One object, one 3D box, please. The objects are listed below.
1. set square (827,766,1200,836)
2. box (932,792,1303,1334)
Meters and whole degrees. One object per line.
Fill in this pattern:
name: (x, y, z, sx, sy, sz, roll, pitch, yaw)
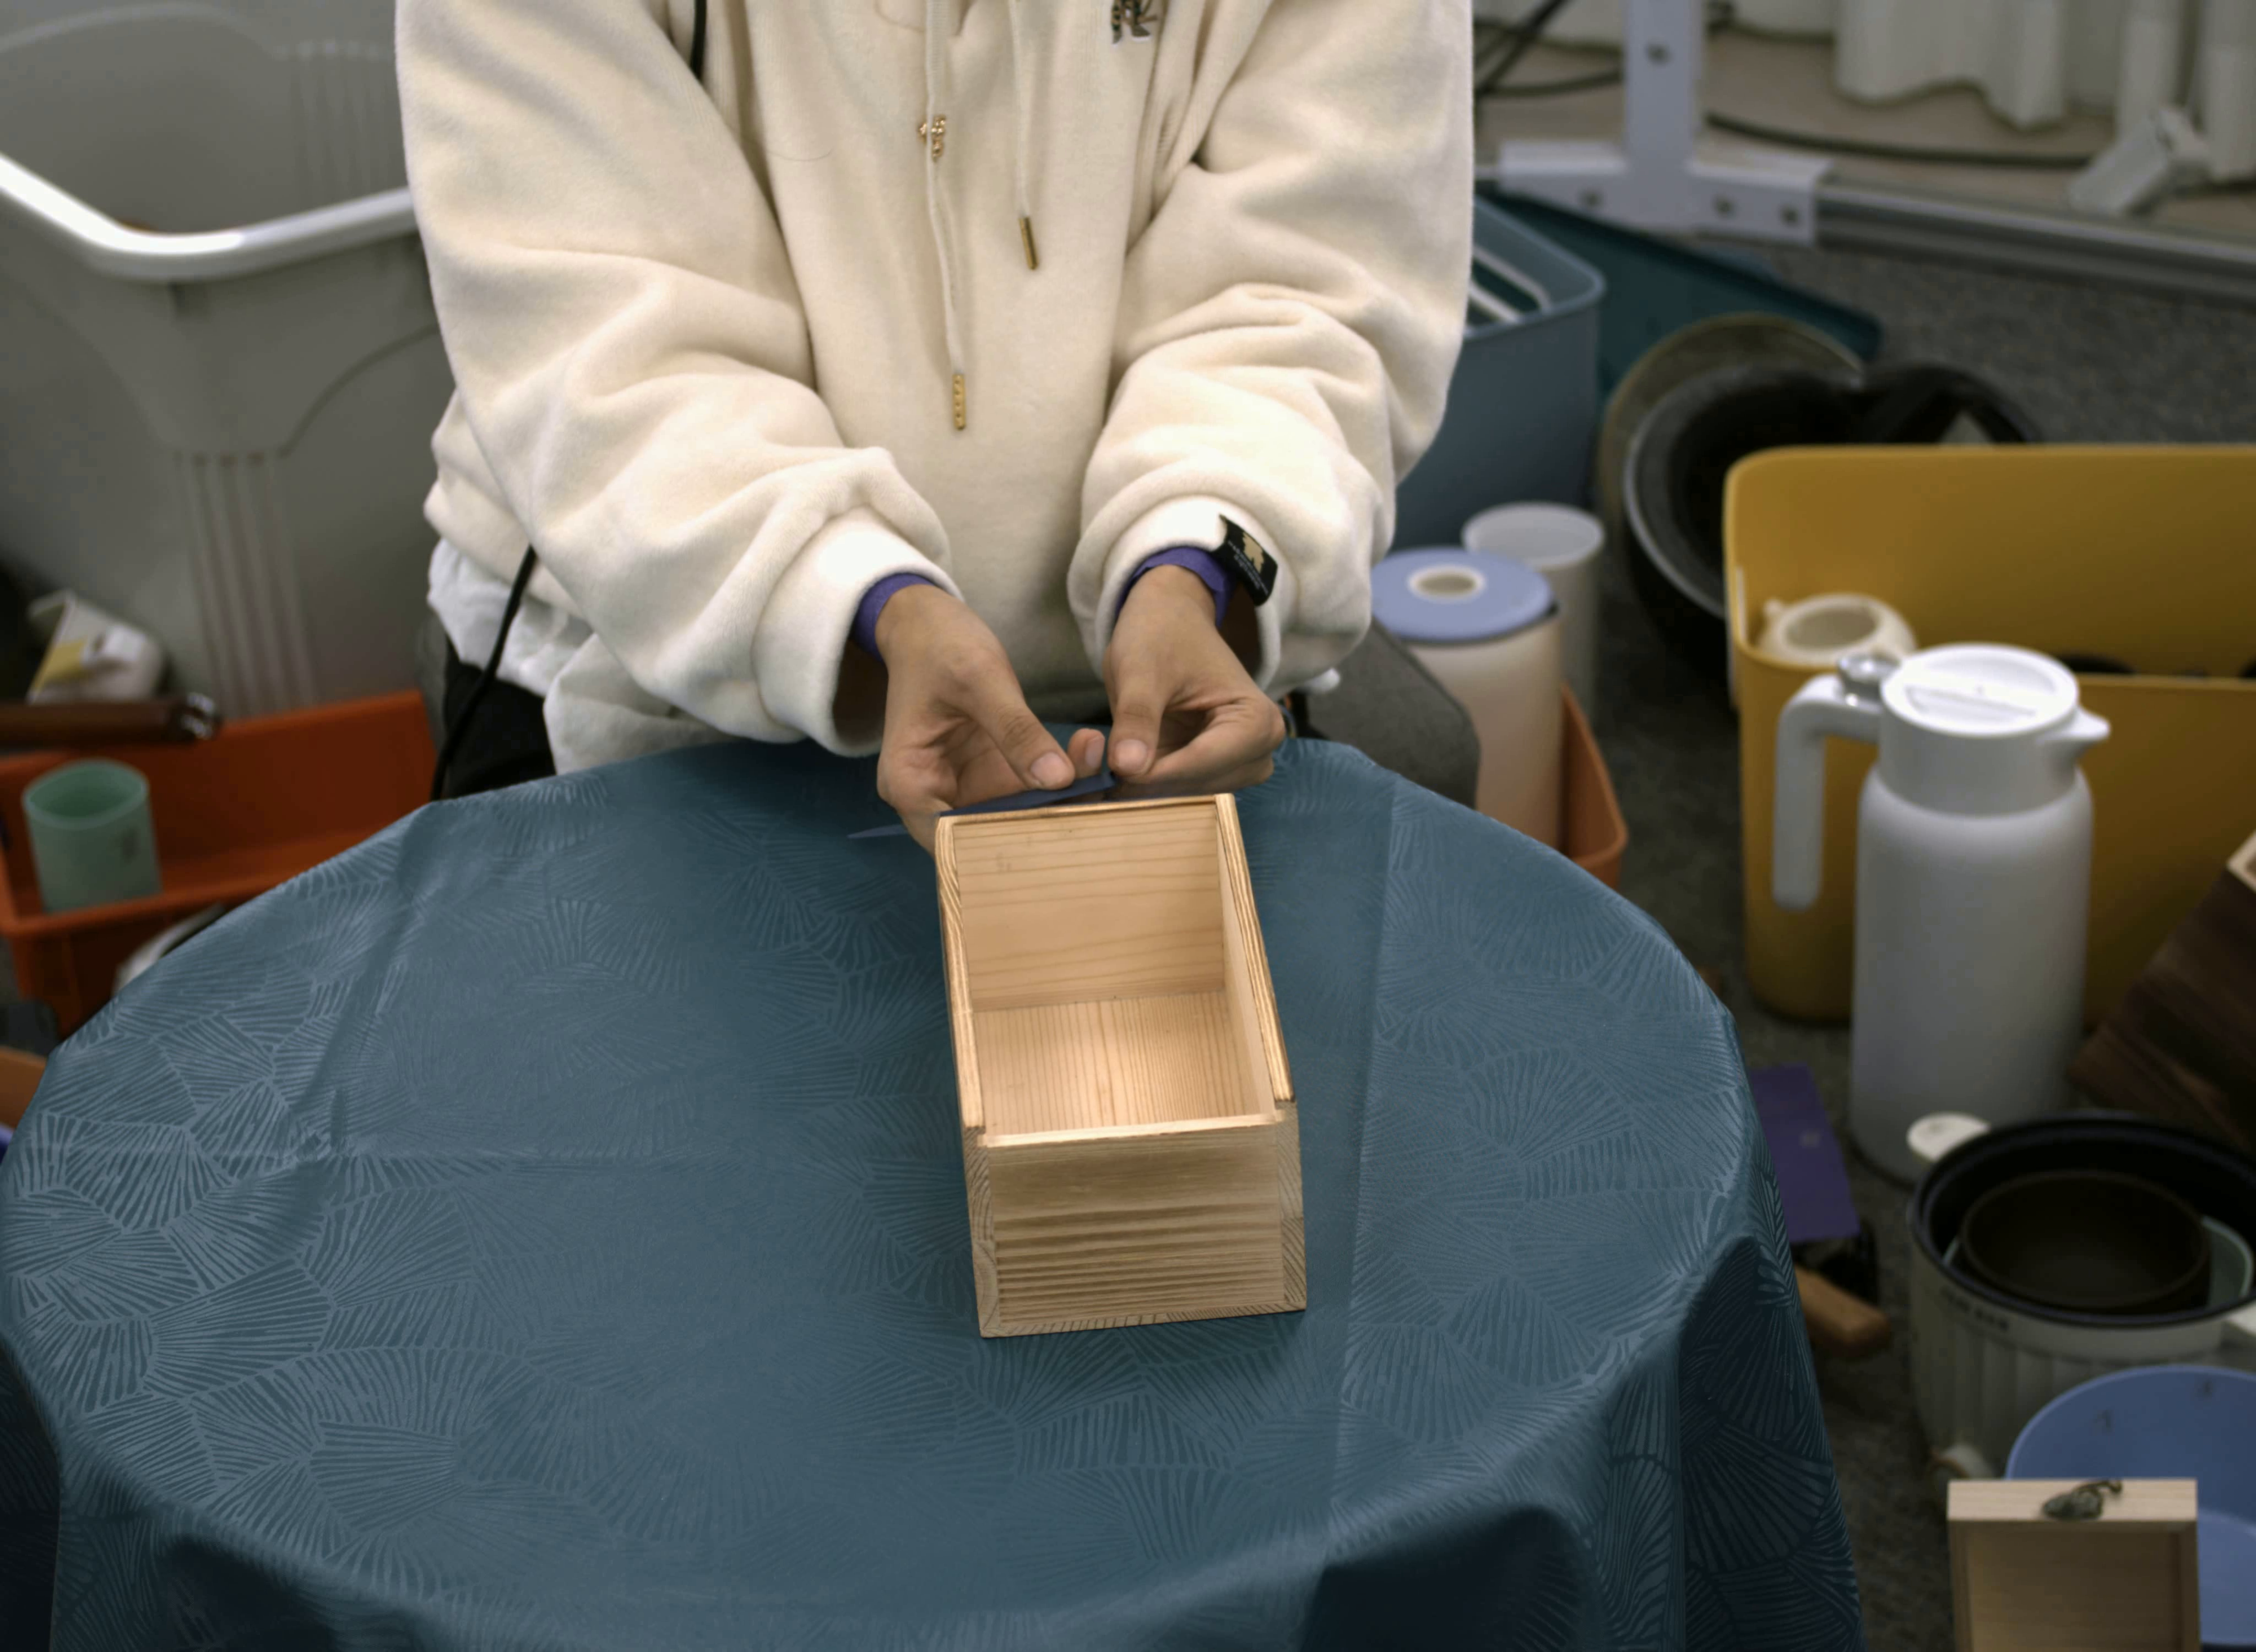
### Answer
set square: (-0.040, -0.011, 1.979, 0.131, 0.006, 0.062, -5, 16, 2)
box: (-0.006, 0.075, 1.866, 0.107, 0.079, 0.214, -4, 28, -4)
